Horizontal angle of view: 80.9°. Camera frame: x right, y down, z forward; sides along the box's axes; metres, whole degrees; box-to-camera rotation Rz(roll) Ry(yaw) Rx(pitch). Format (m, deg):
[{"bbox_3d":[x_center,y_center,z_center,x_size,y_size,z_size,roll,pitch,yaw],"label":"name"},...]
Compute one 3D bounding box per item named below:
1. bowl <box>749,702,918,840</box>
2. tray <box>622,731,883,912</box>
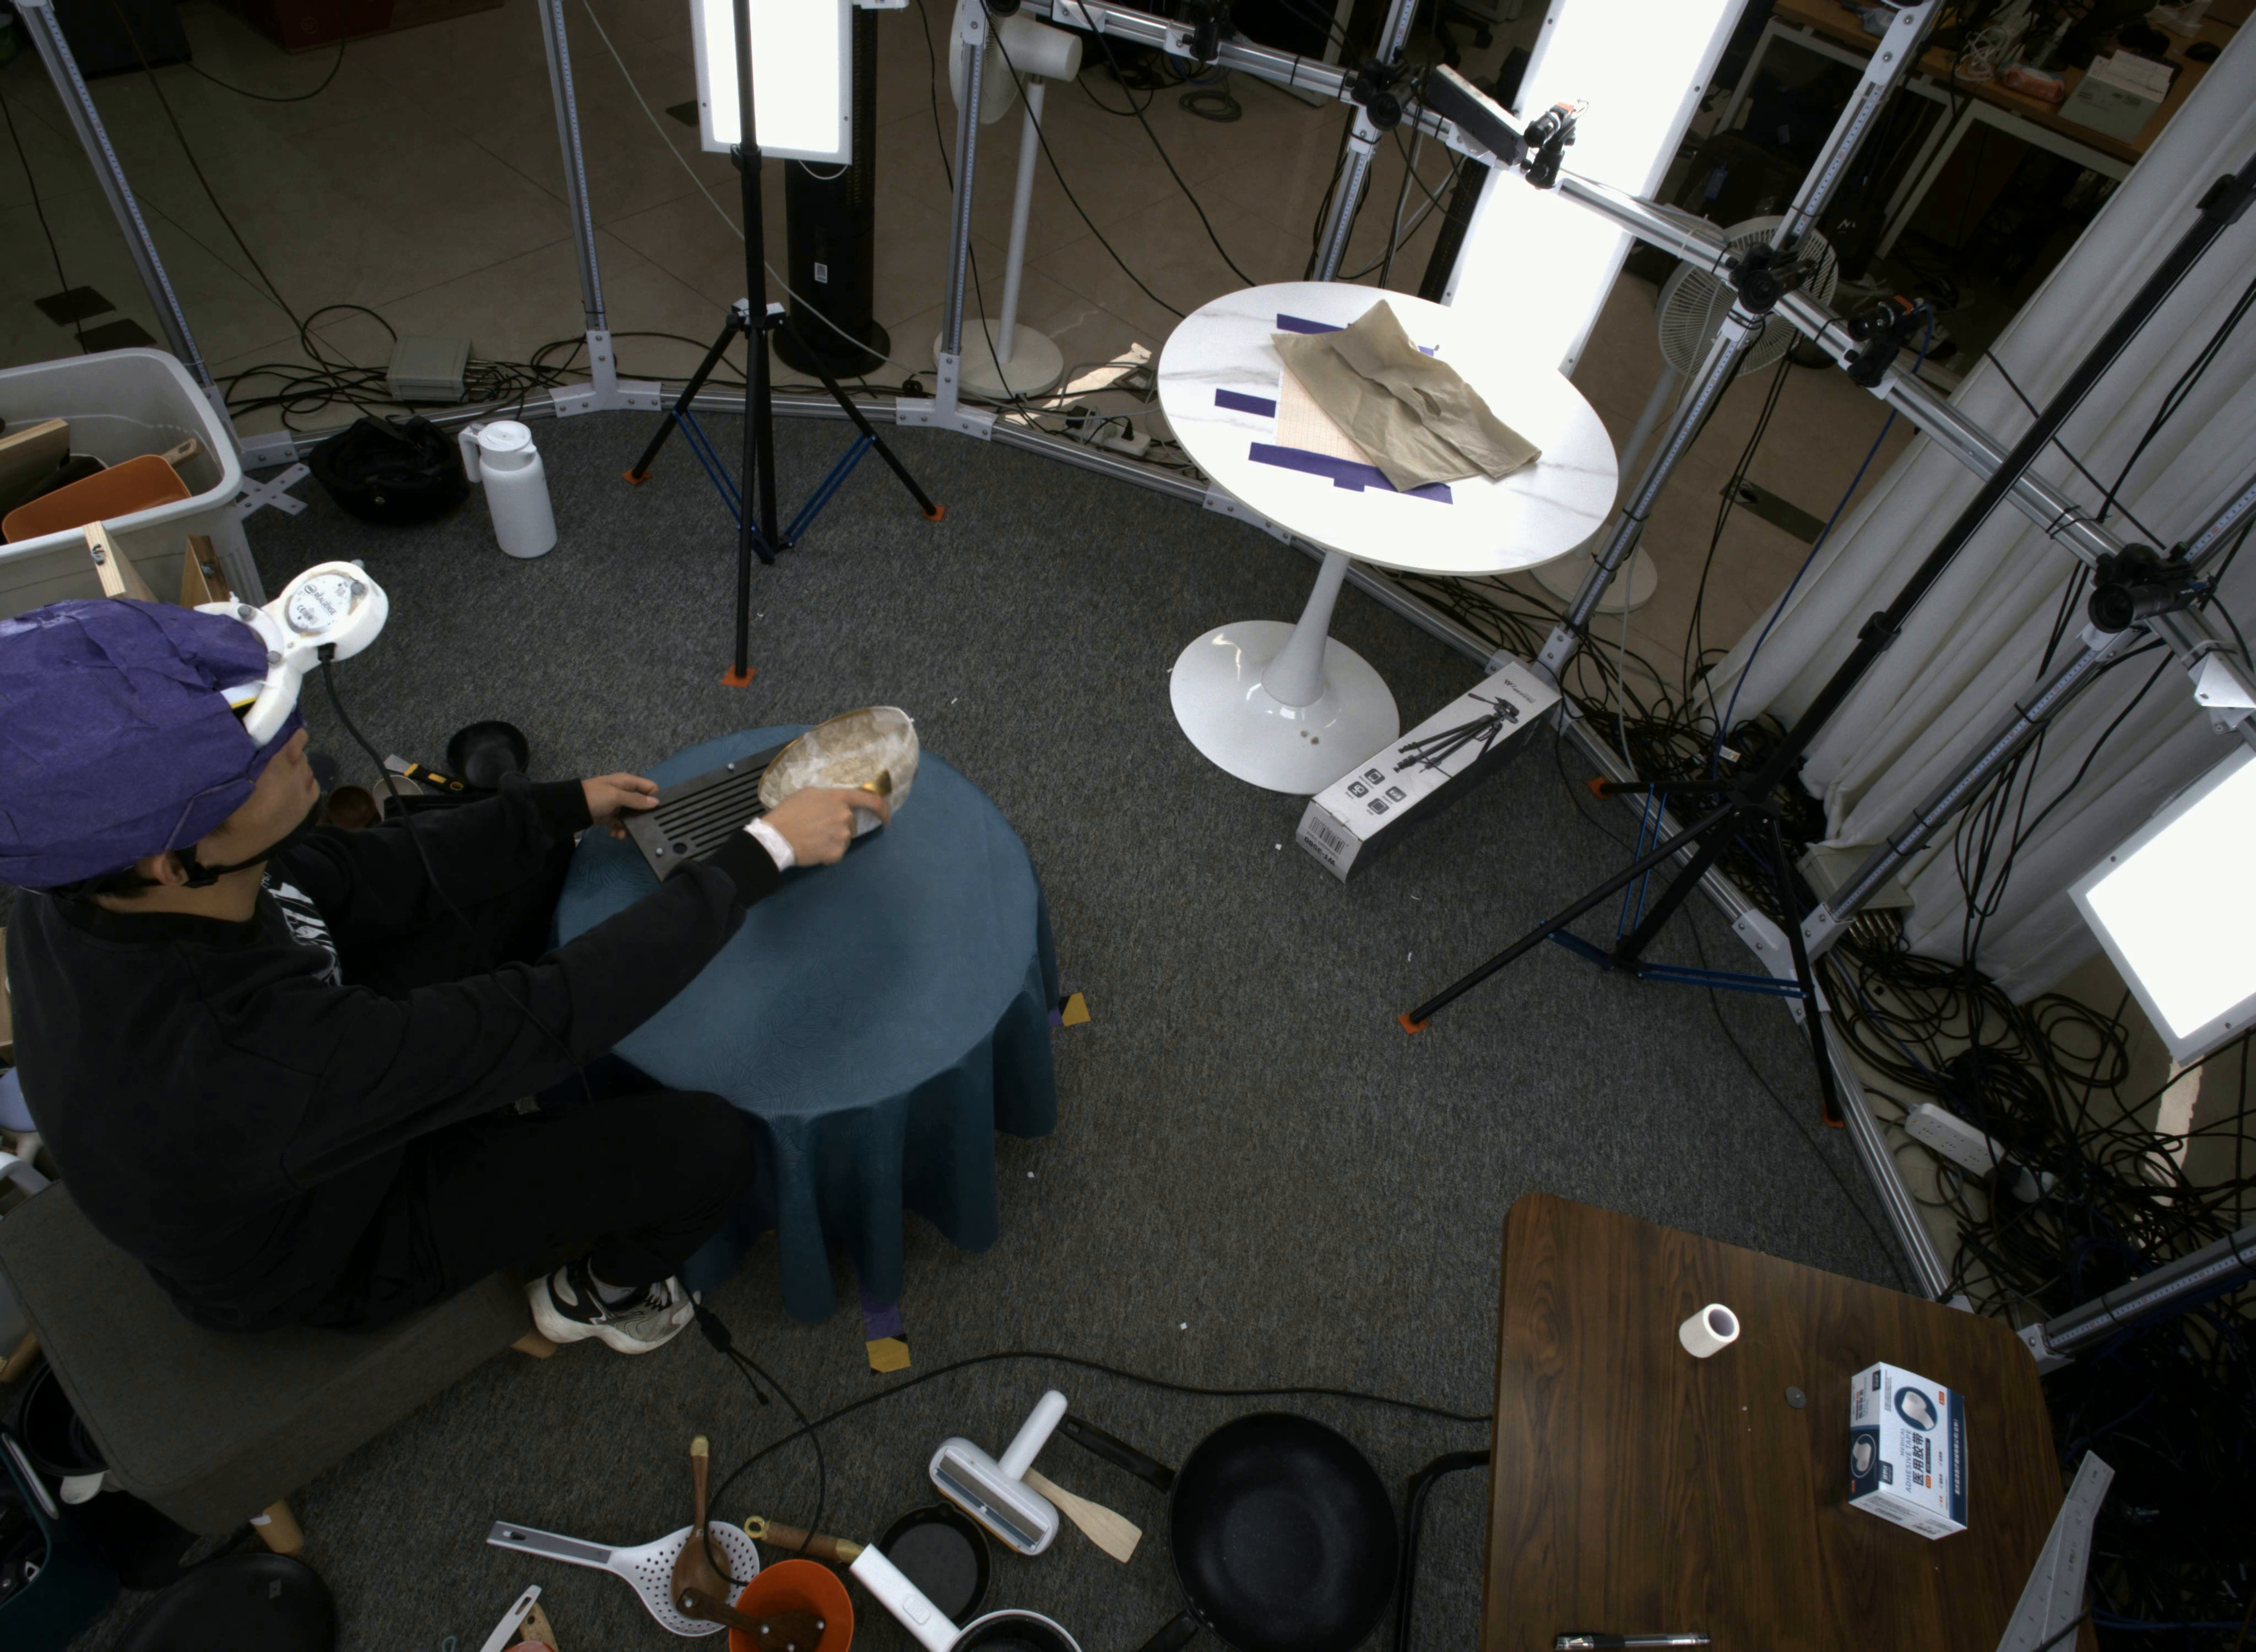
[{"bbox_3d":[-0.341,-0.051,1.567,0.211,0.098,0.210,-13,38,12],"label":"bowl"},{"bbox_3d":[-0.485,-0.013,1.679,0.308,0.019,0.168,-27,74,-36],"label":"tray"}]
